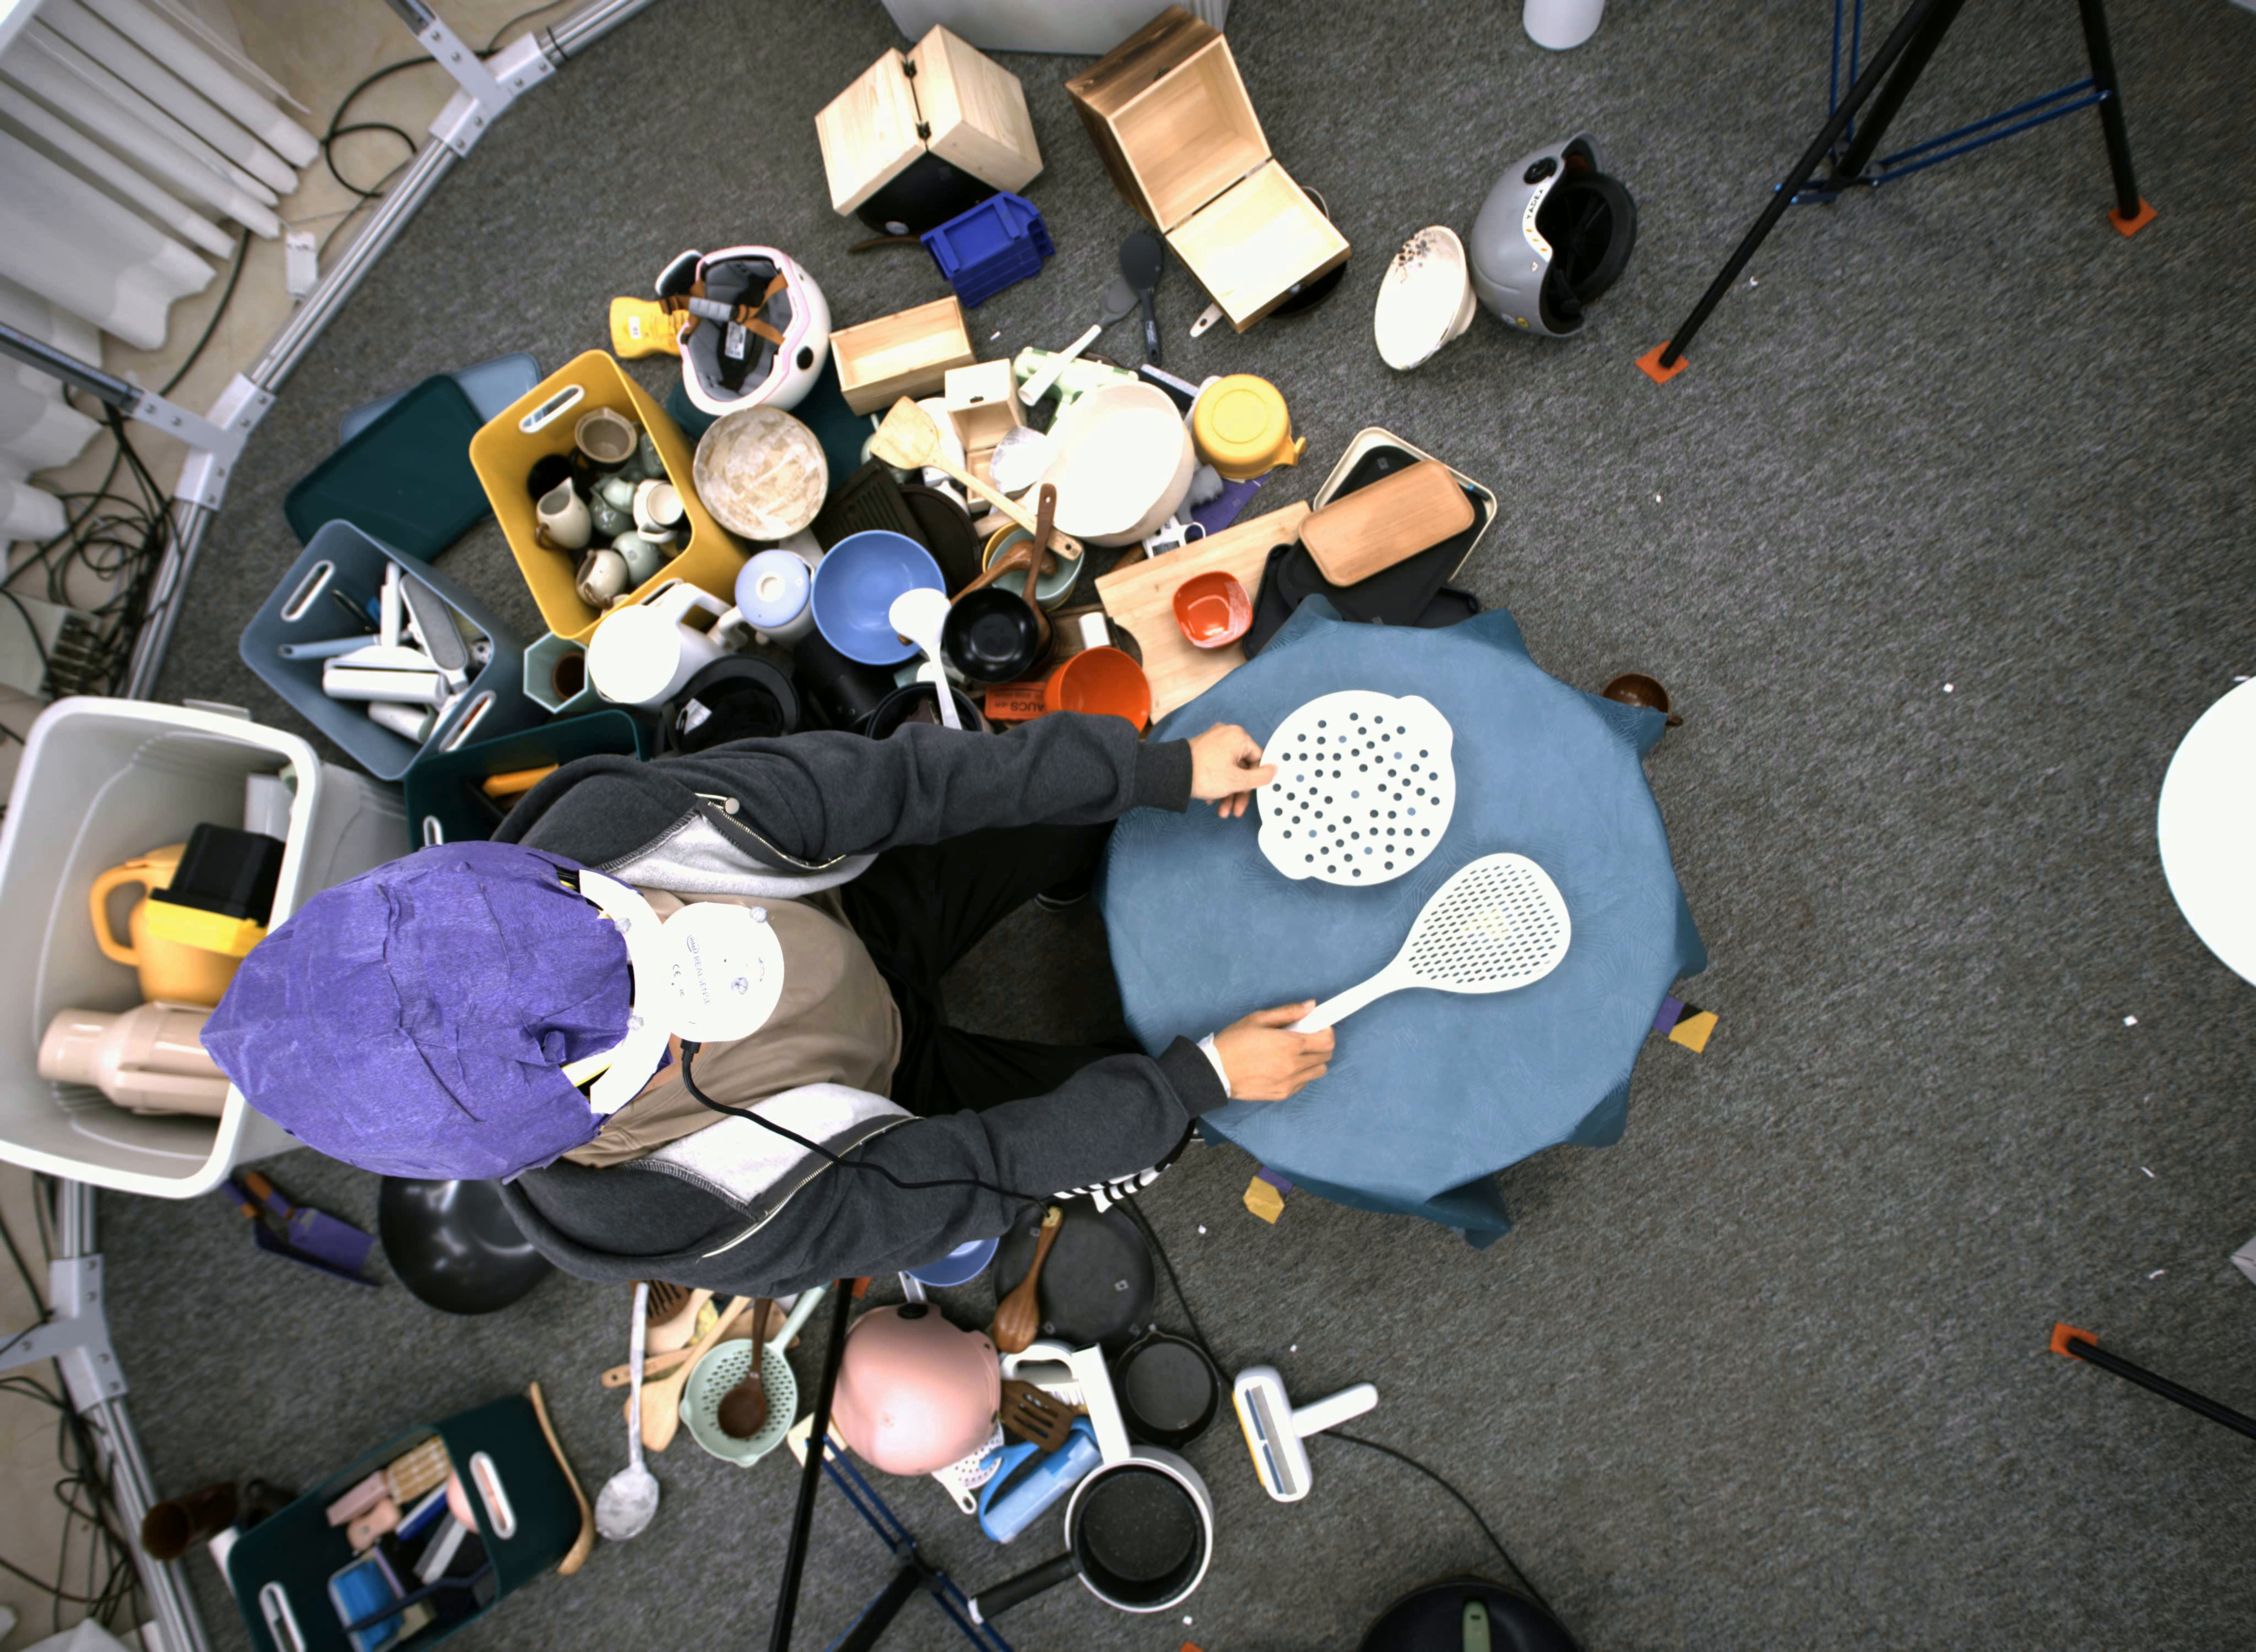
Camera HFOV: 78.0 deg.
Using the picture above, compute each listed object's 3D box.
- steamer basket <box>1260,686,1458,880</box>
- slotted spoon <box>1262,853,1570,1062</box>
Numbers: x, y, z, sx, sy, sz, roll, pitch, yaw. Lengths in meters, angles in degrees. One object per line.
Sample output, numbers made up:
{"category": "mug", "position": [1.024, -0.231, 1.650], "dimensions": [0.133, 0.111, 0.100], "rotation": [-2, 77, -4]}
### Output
{"category": "steamer basket", "position": [0.240, -0.043, 1.436], "dimensions": [0.231, 0.069, 0.201], "rotation": [-42, 81, 3]}
{"category": "slotted spoon", "position": [0.287, 0.150, 1.430], "dimensions": [0.350, 0.050, 0.136], "rotation": [-30, 88, 7]}
